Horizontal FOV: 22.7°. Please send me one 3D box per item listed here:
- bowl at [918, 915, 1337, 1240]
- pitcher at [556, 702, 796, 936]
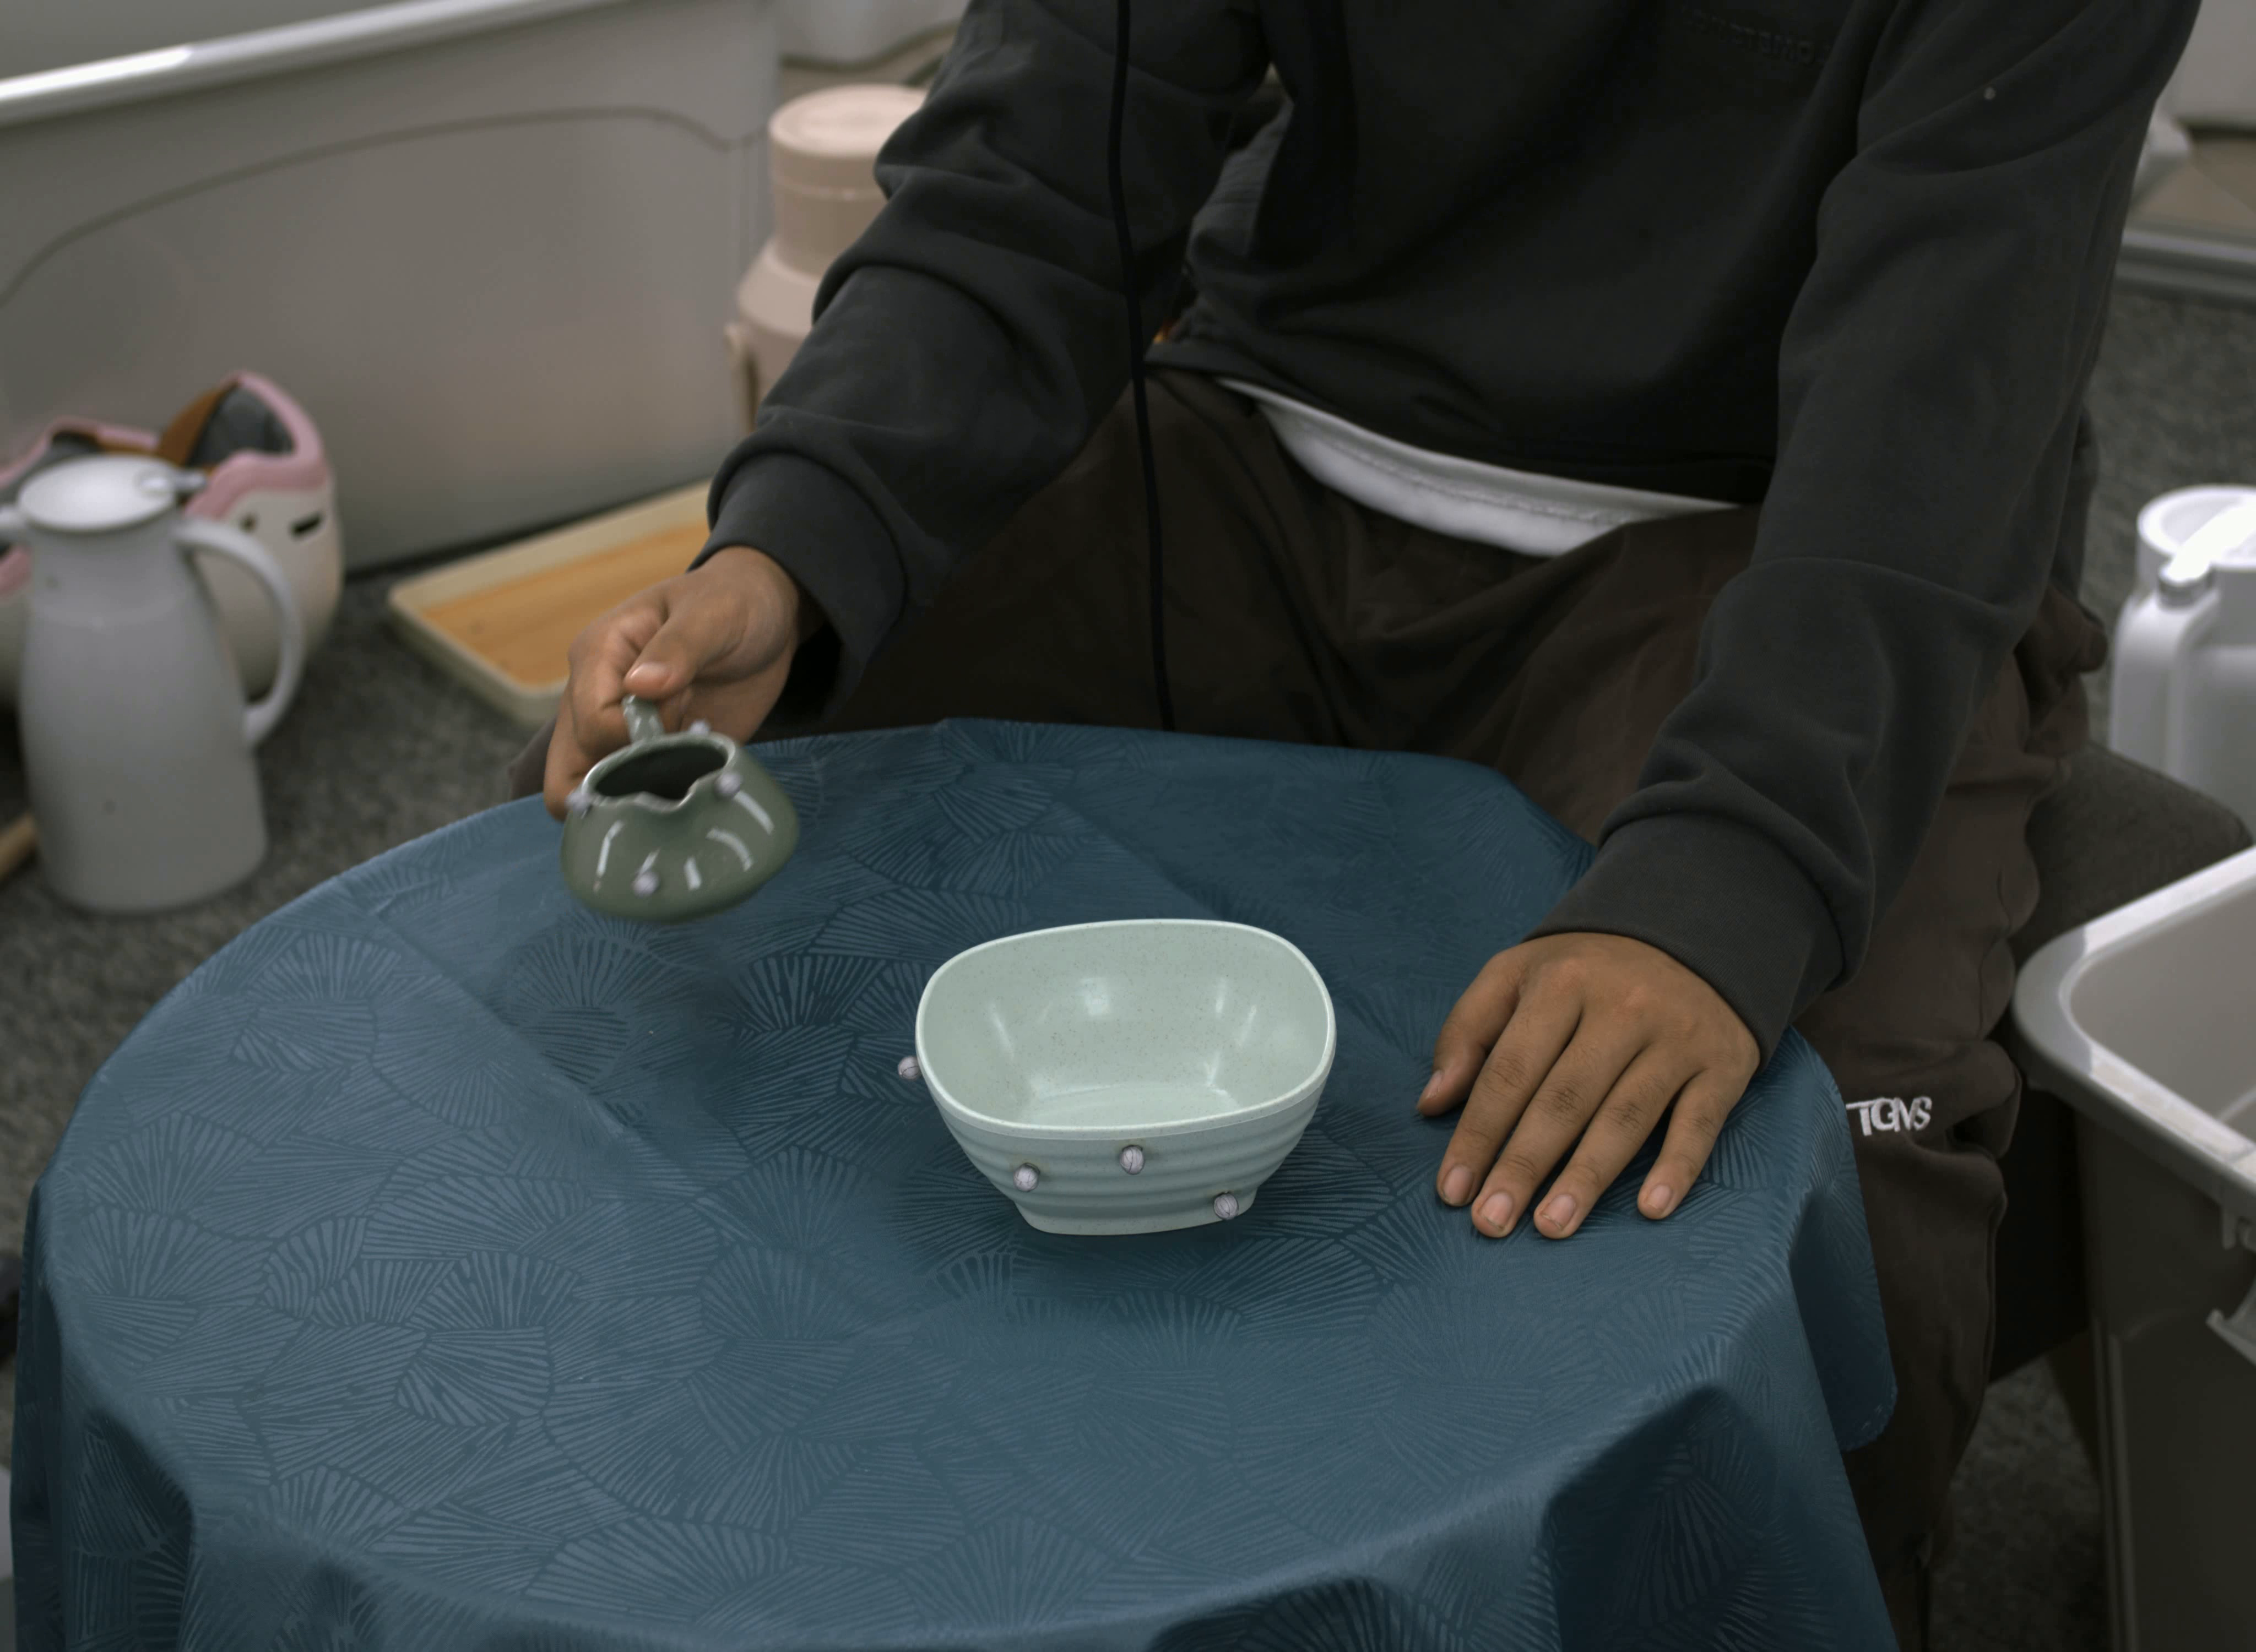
[{"bbox_3d":[0.001,0.090,1.867,0.151,0.058,0.154,-2,29,2],"label":"bowl"},{"bbox_3d":[-0.159,-0.001,1.935,0.084,0.056,0.113,-16,24,-8],"label":"pitcher"}]
